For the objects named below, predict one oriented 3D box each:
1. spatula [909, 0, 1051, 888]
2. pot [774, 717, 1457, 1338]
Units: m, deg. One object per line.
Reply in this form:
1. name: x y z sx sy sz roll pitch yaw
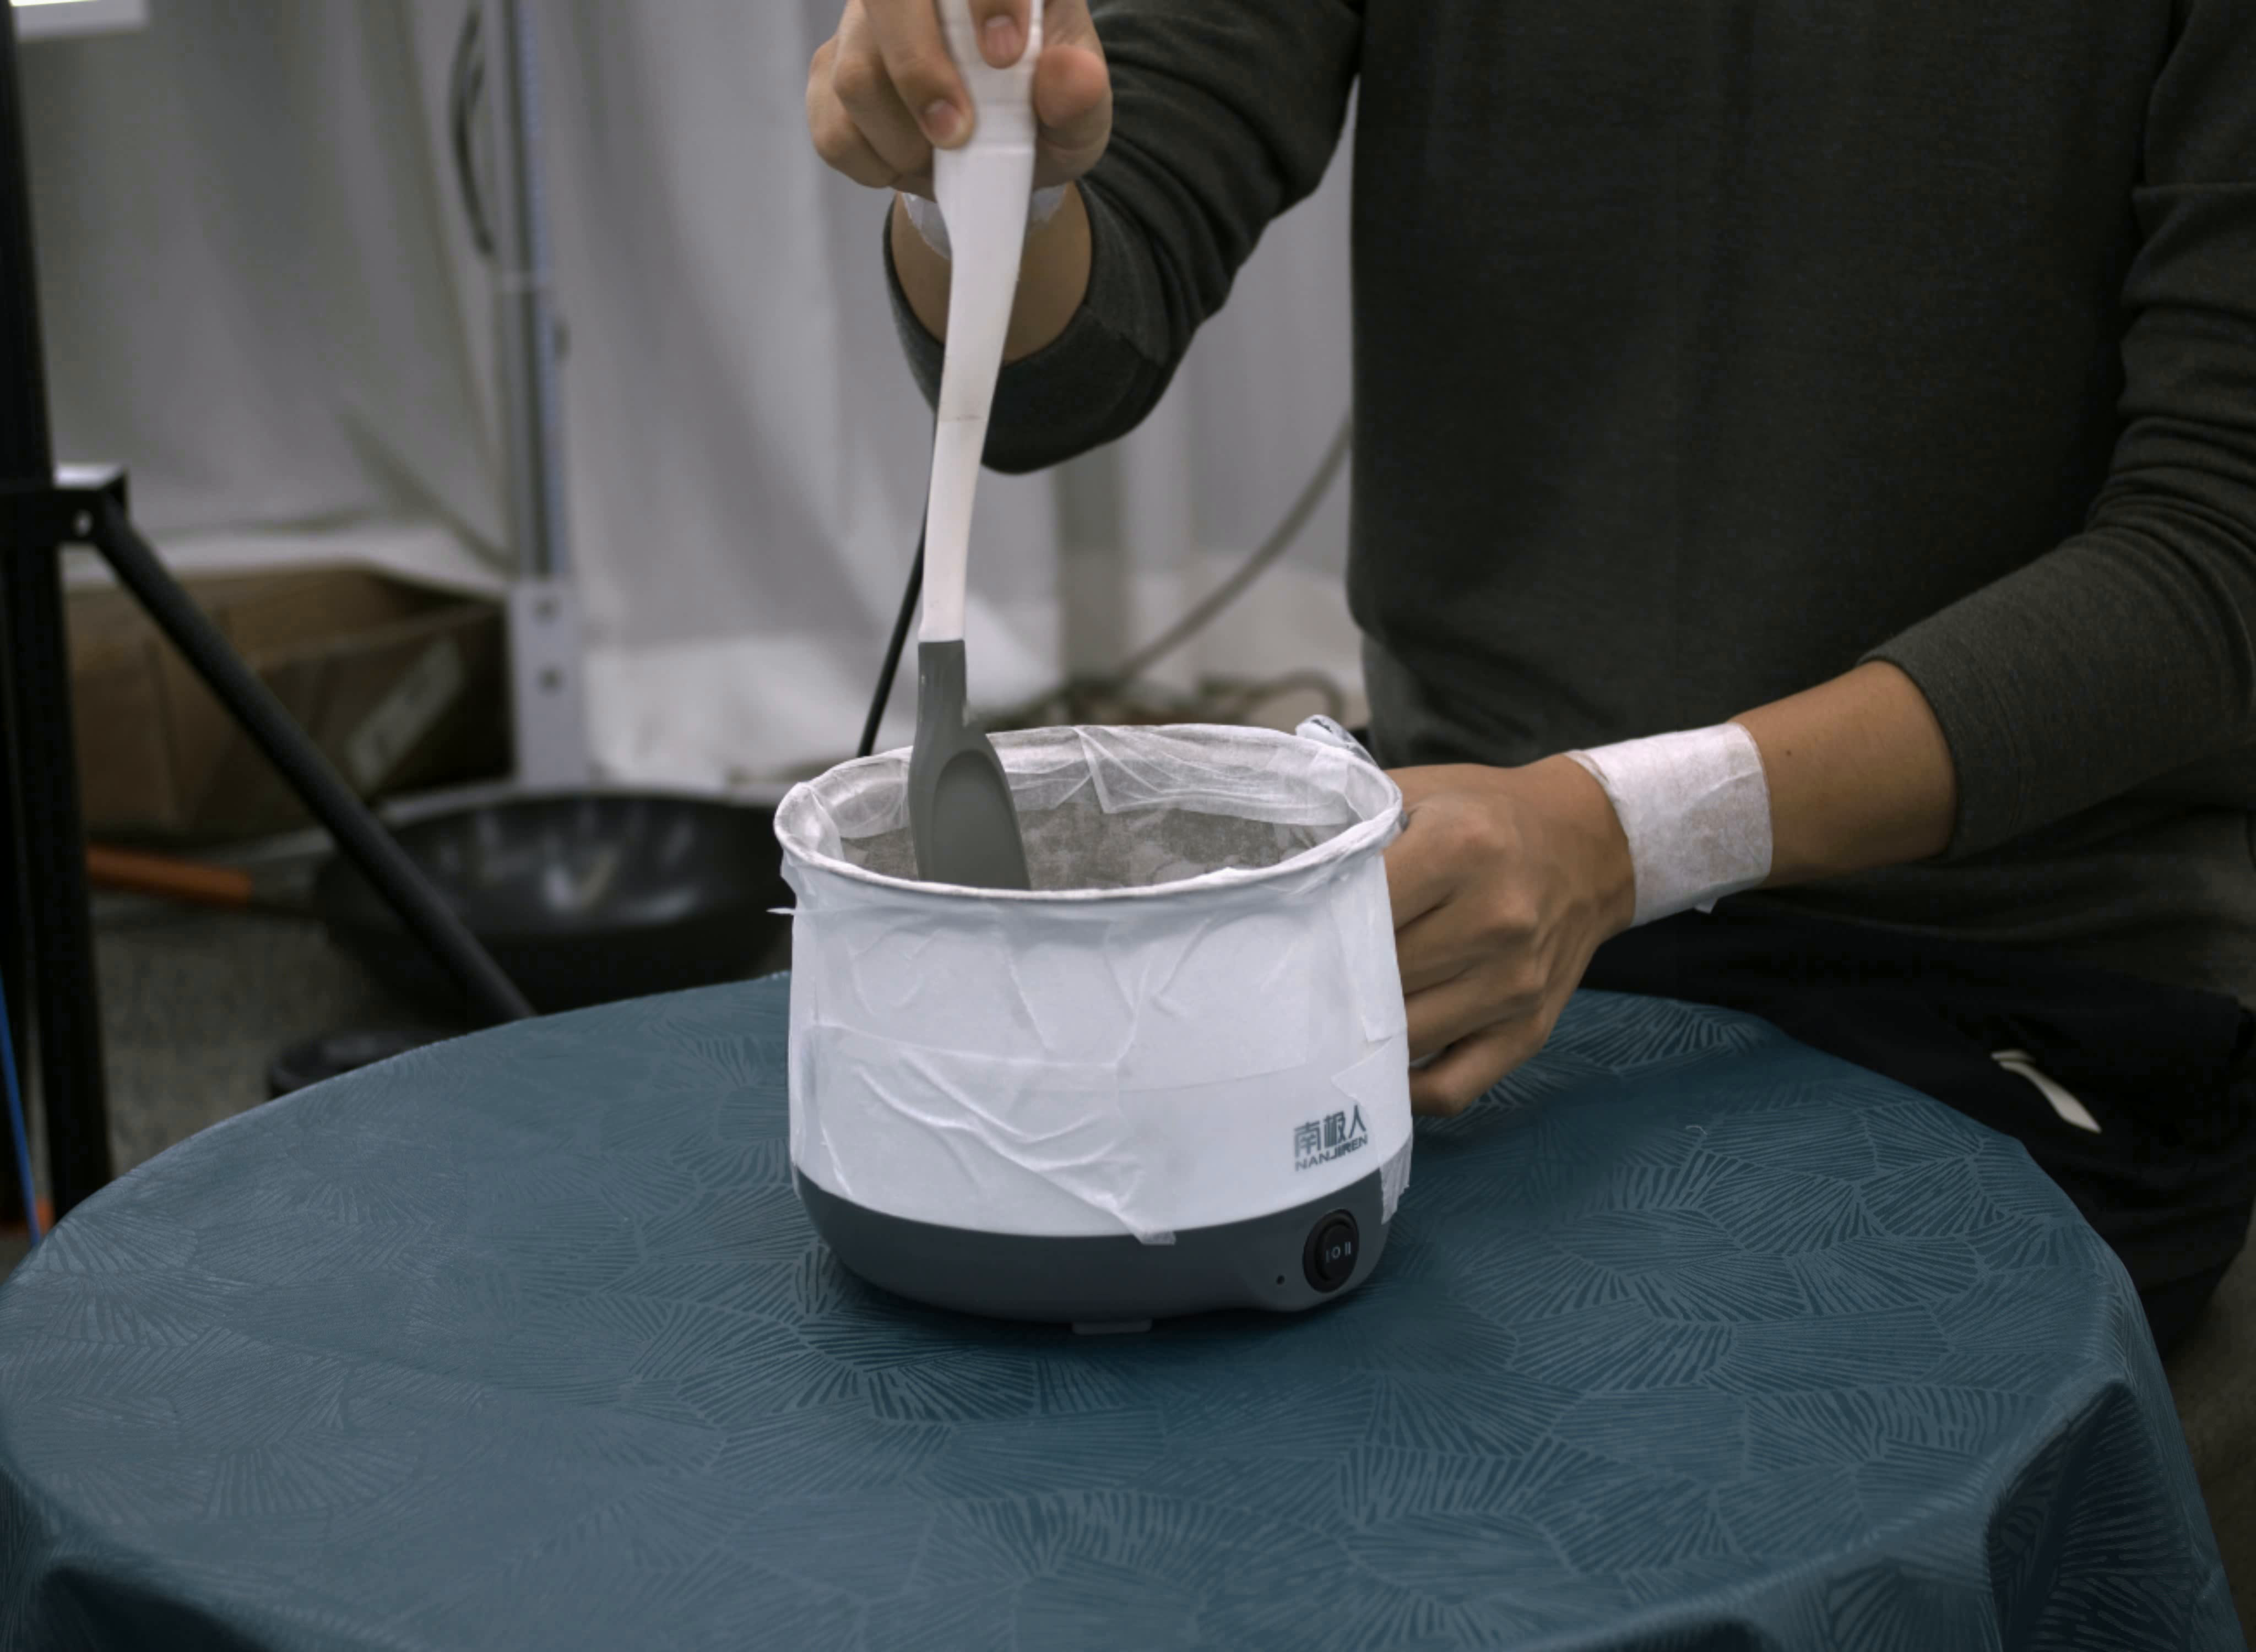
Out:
1. spatula: -0.040 -0.085 1.454 0.033 0.288 0.057 6 8 30
2. pot: 0.009 0.050 1.519 0.183 0.136 0.228 12 21 41
